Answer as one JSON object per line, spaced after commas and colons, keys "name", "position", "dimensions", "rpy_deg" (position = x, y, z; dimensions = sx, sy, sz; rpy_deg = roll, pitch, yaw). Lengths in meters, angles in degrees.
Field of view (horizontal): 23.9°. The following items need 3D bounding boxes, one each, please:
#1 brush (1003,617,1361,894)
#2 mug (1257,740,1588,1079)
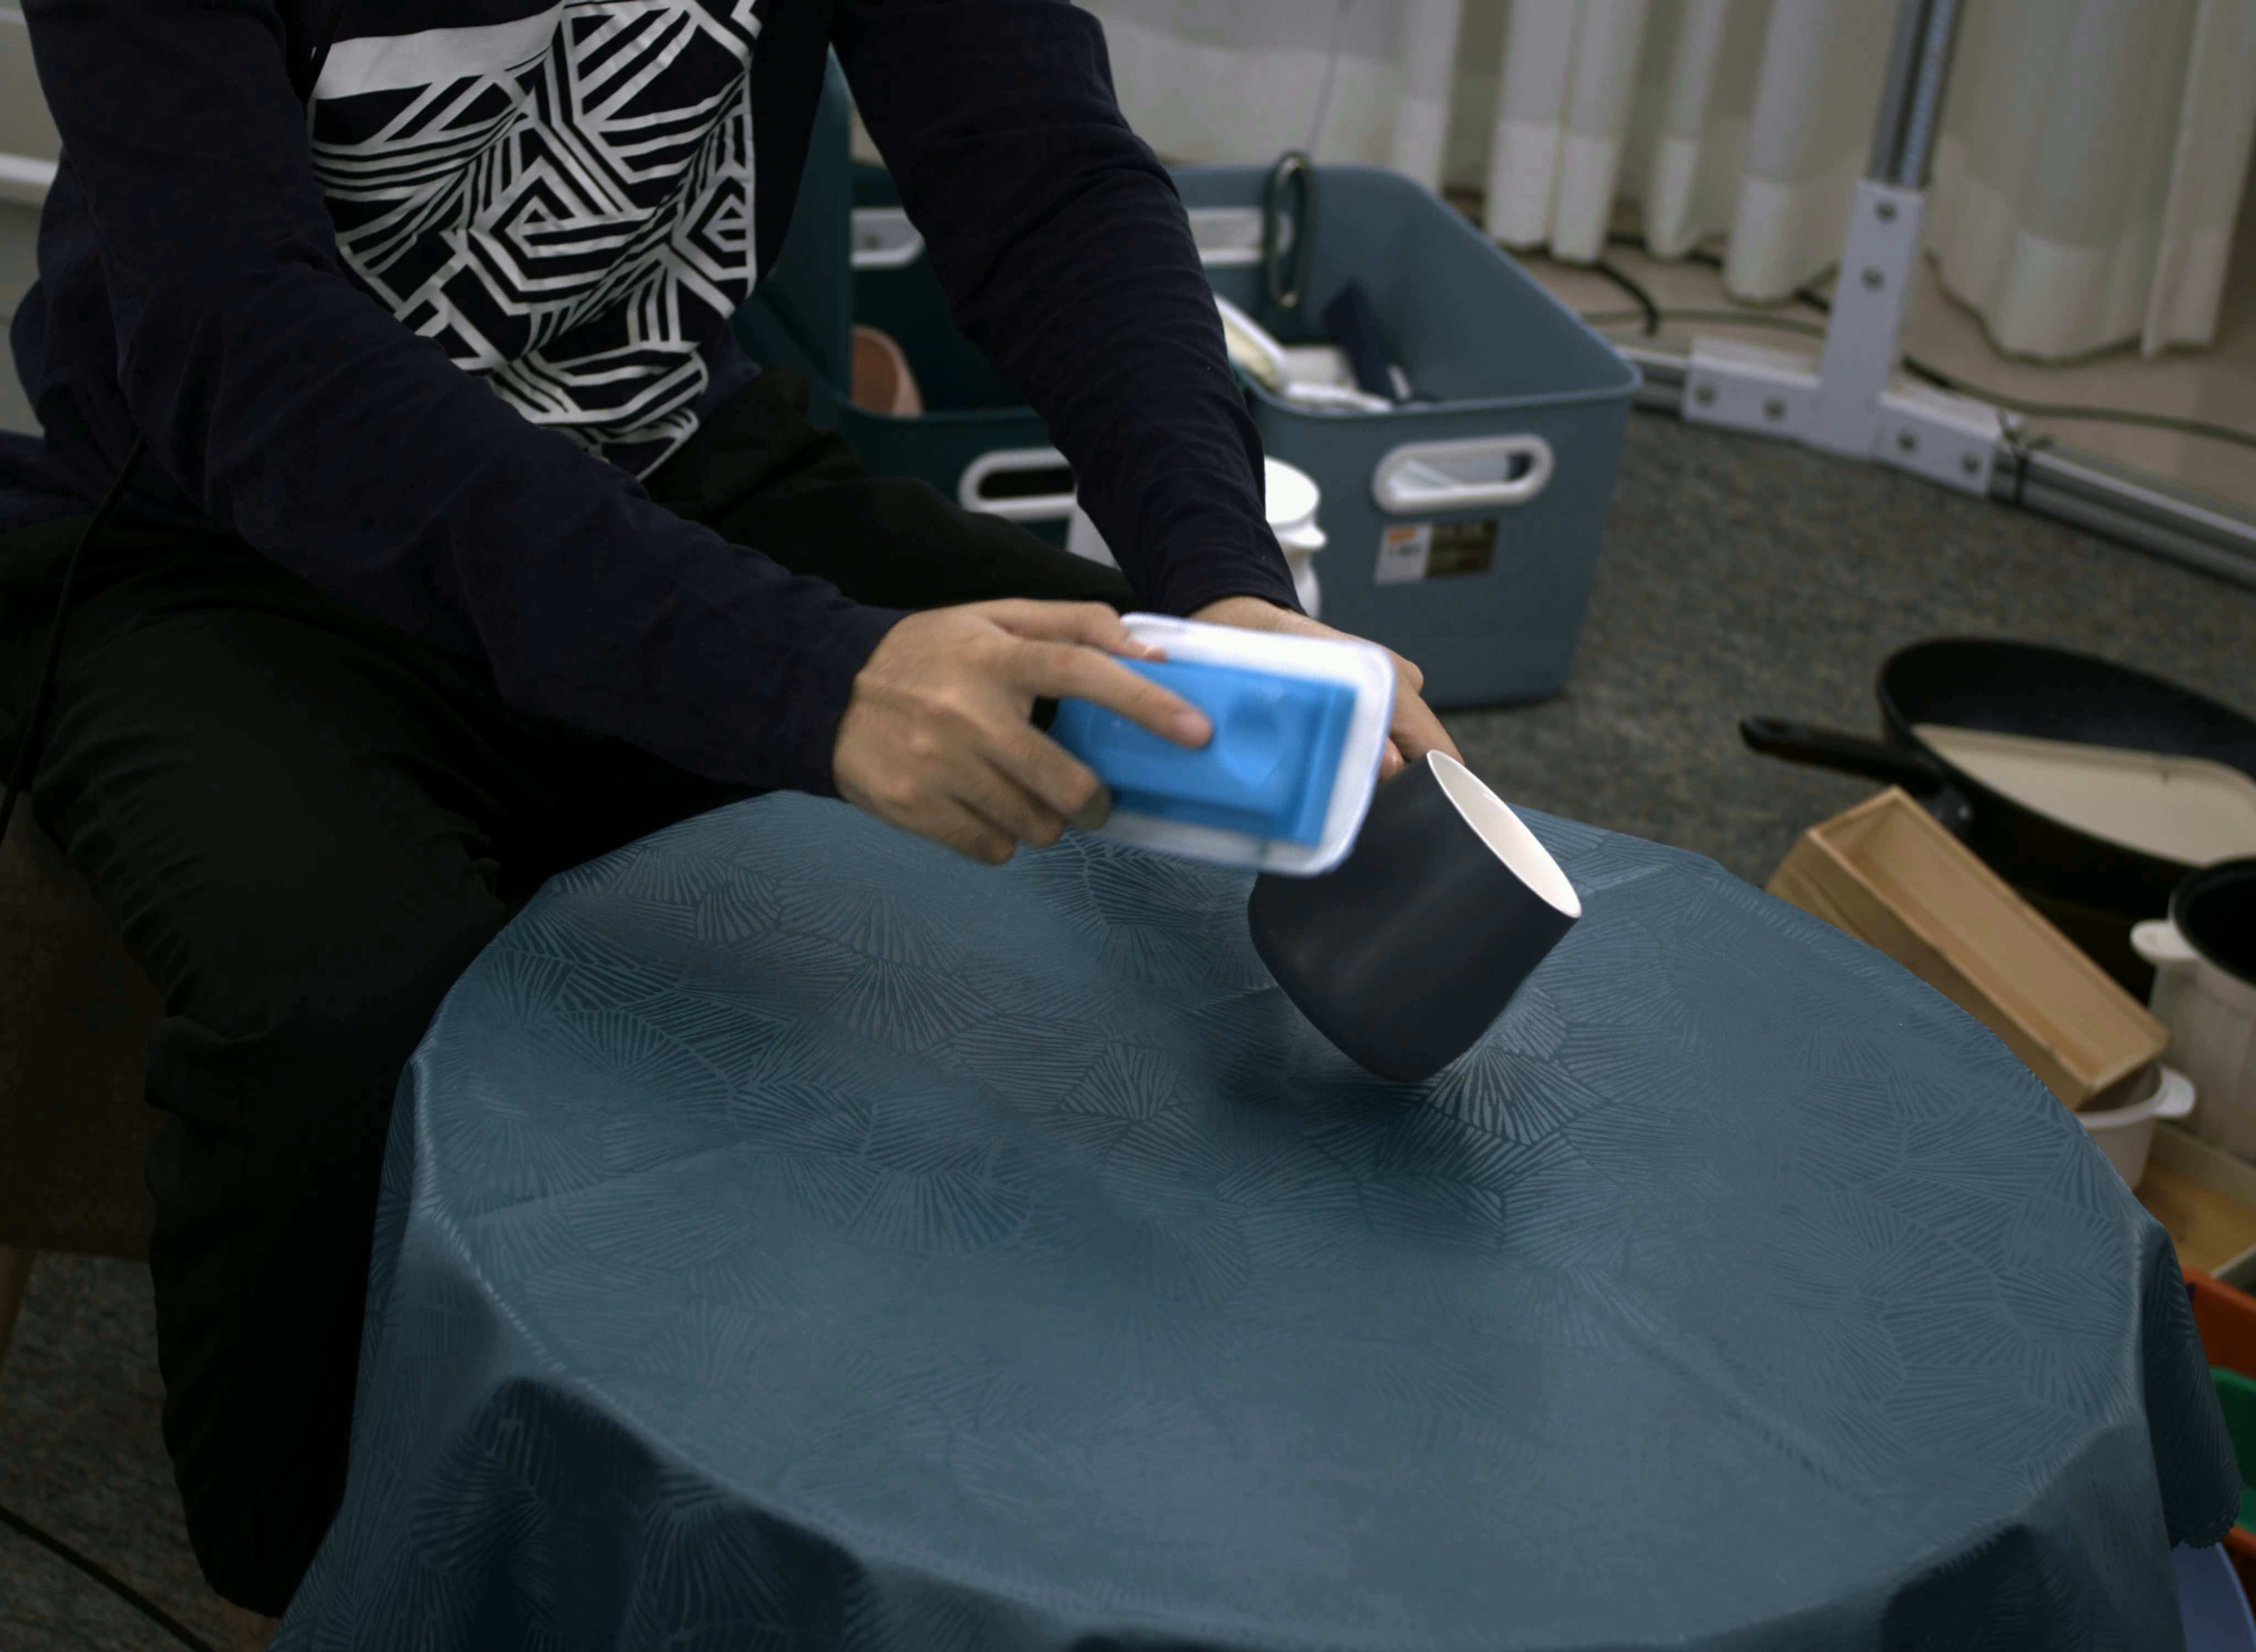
{"name": "brush", "position": [0.009, -0.029, 1.805], "dimensions": [0.145, 0.084, 0.055], "rpy_deg": [15, -7, 44]}
{"name": "mug", "position": [0.097, 0.021, 1.884], "dimensions": [0.092, 0.090, 0.124], "rpy_deg": [33, 21, -47]}
